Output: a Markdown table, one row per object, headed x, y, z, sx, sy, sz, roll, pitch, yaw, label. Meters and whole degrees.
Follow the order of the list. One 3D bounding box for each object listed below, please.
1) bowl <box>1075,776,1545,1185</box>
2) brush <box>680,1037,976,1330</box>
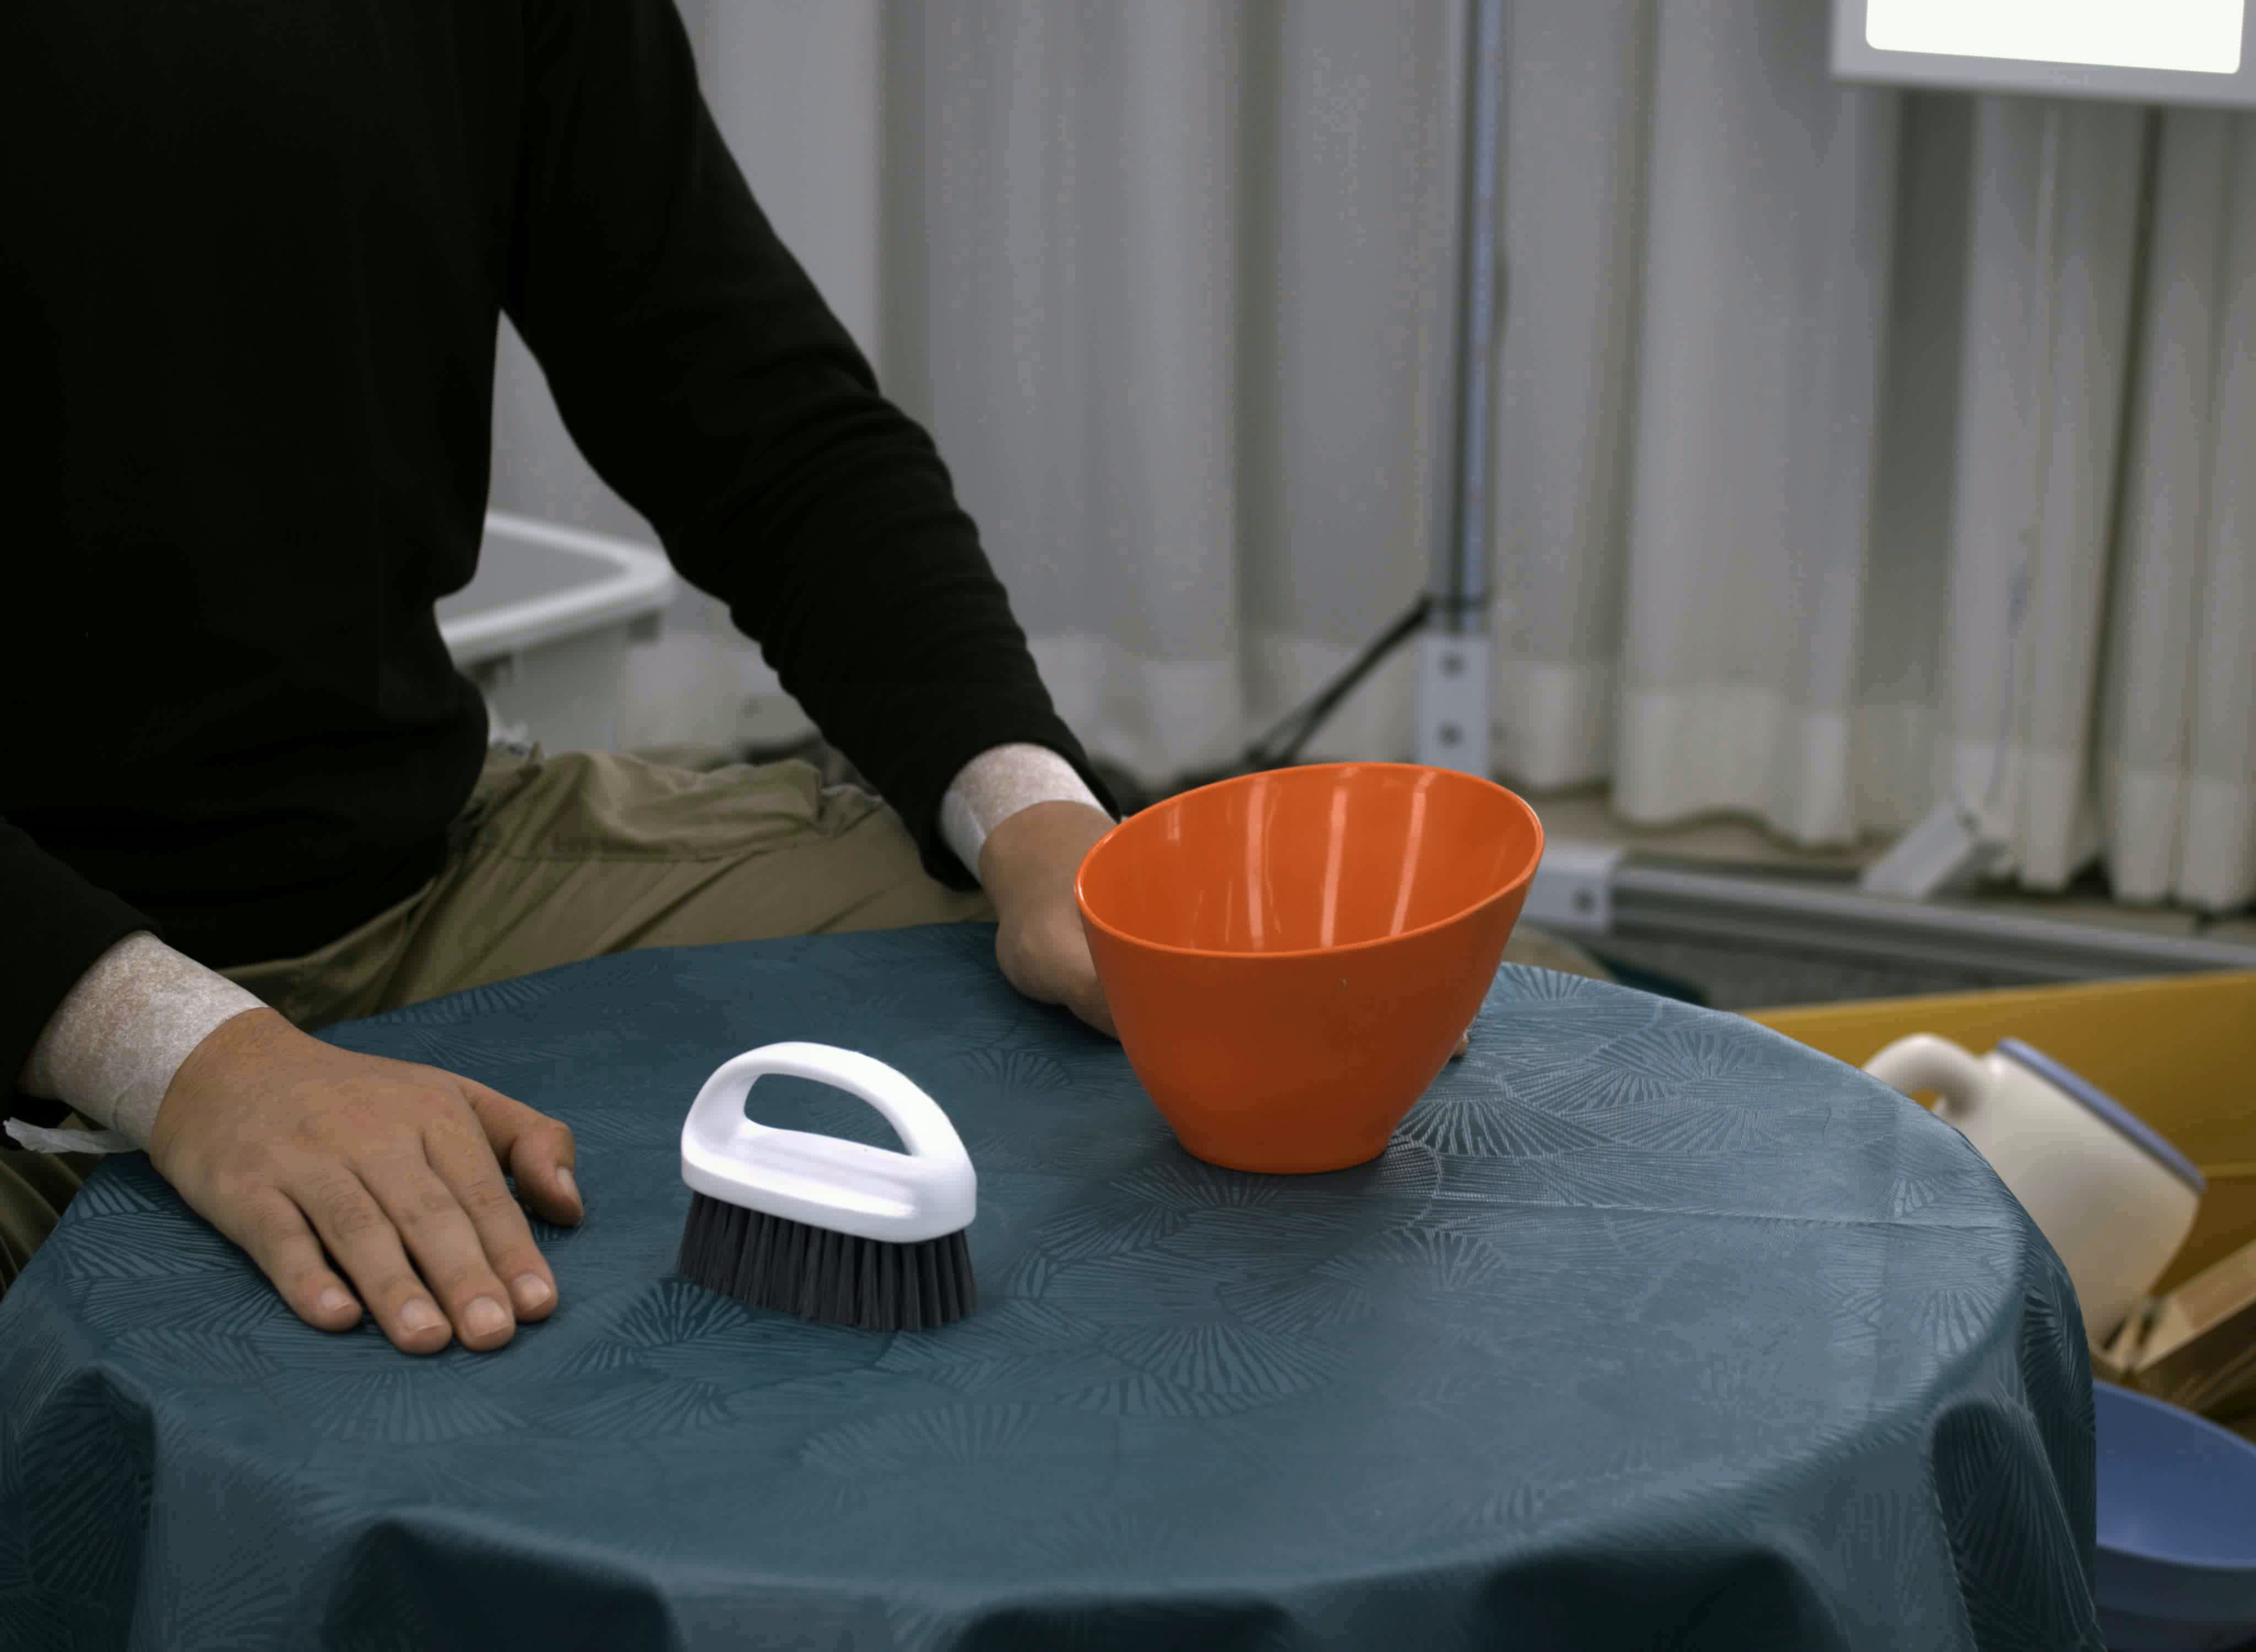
| x | y | z | sx | sy | sz | roll | pitch | yaw | label |
| --- | --- | --- | --- | --- | --- | --- | --- | --- | --- |
| 0.058 | 0.052 | 1.659 | 0.147 | 0.105 | 0.147 | -1 | 15 | 1 | bowl |
| -0.088 | 0.099 | 1.529 | 0.098 | 0.073 | 0.050 | 13 | 21 | 37 | brush |
